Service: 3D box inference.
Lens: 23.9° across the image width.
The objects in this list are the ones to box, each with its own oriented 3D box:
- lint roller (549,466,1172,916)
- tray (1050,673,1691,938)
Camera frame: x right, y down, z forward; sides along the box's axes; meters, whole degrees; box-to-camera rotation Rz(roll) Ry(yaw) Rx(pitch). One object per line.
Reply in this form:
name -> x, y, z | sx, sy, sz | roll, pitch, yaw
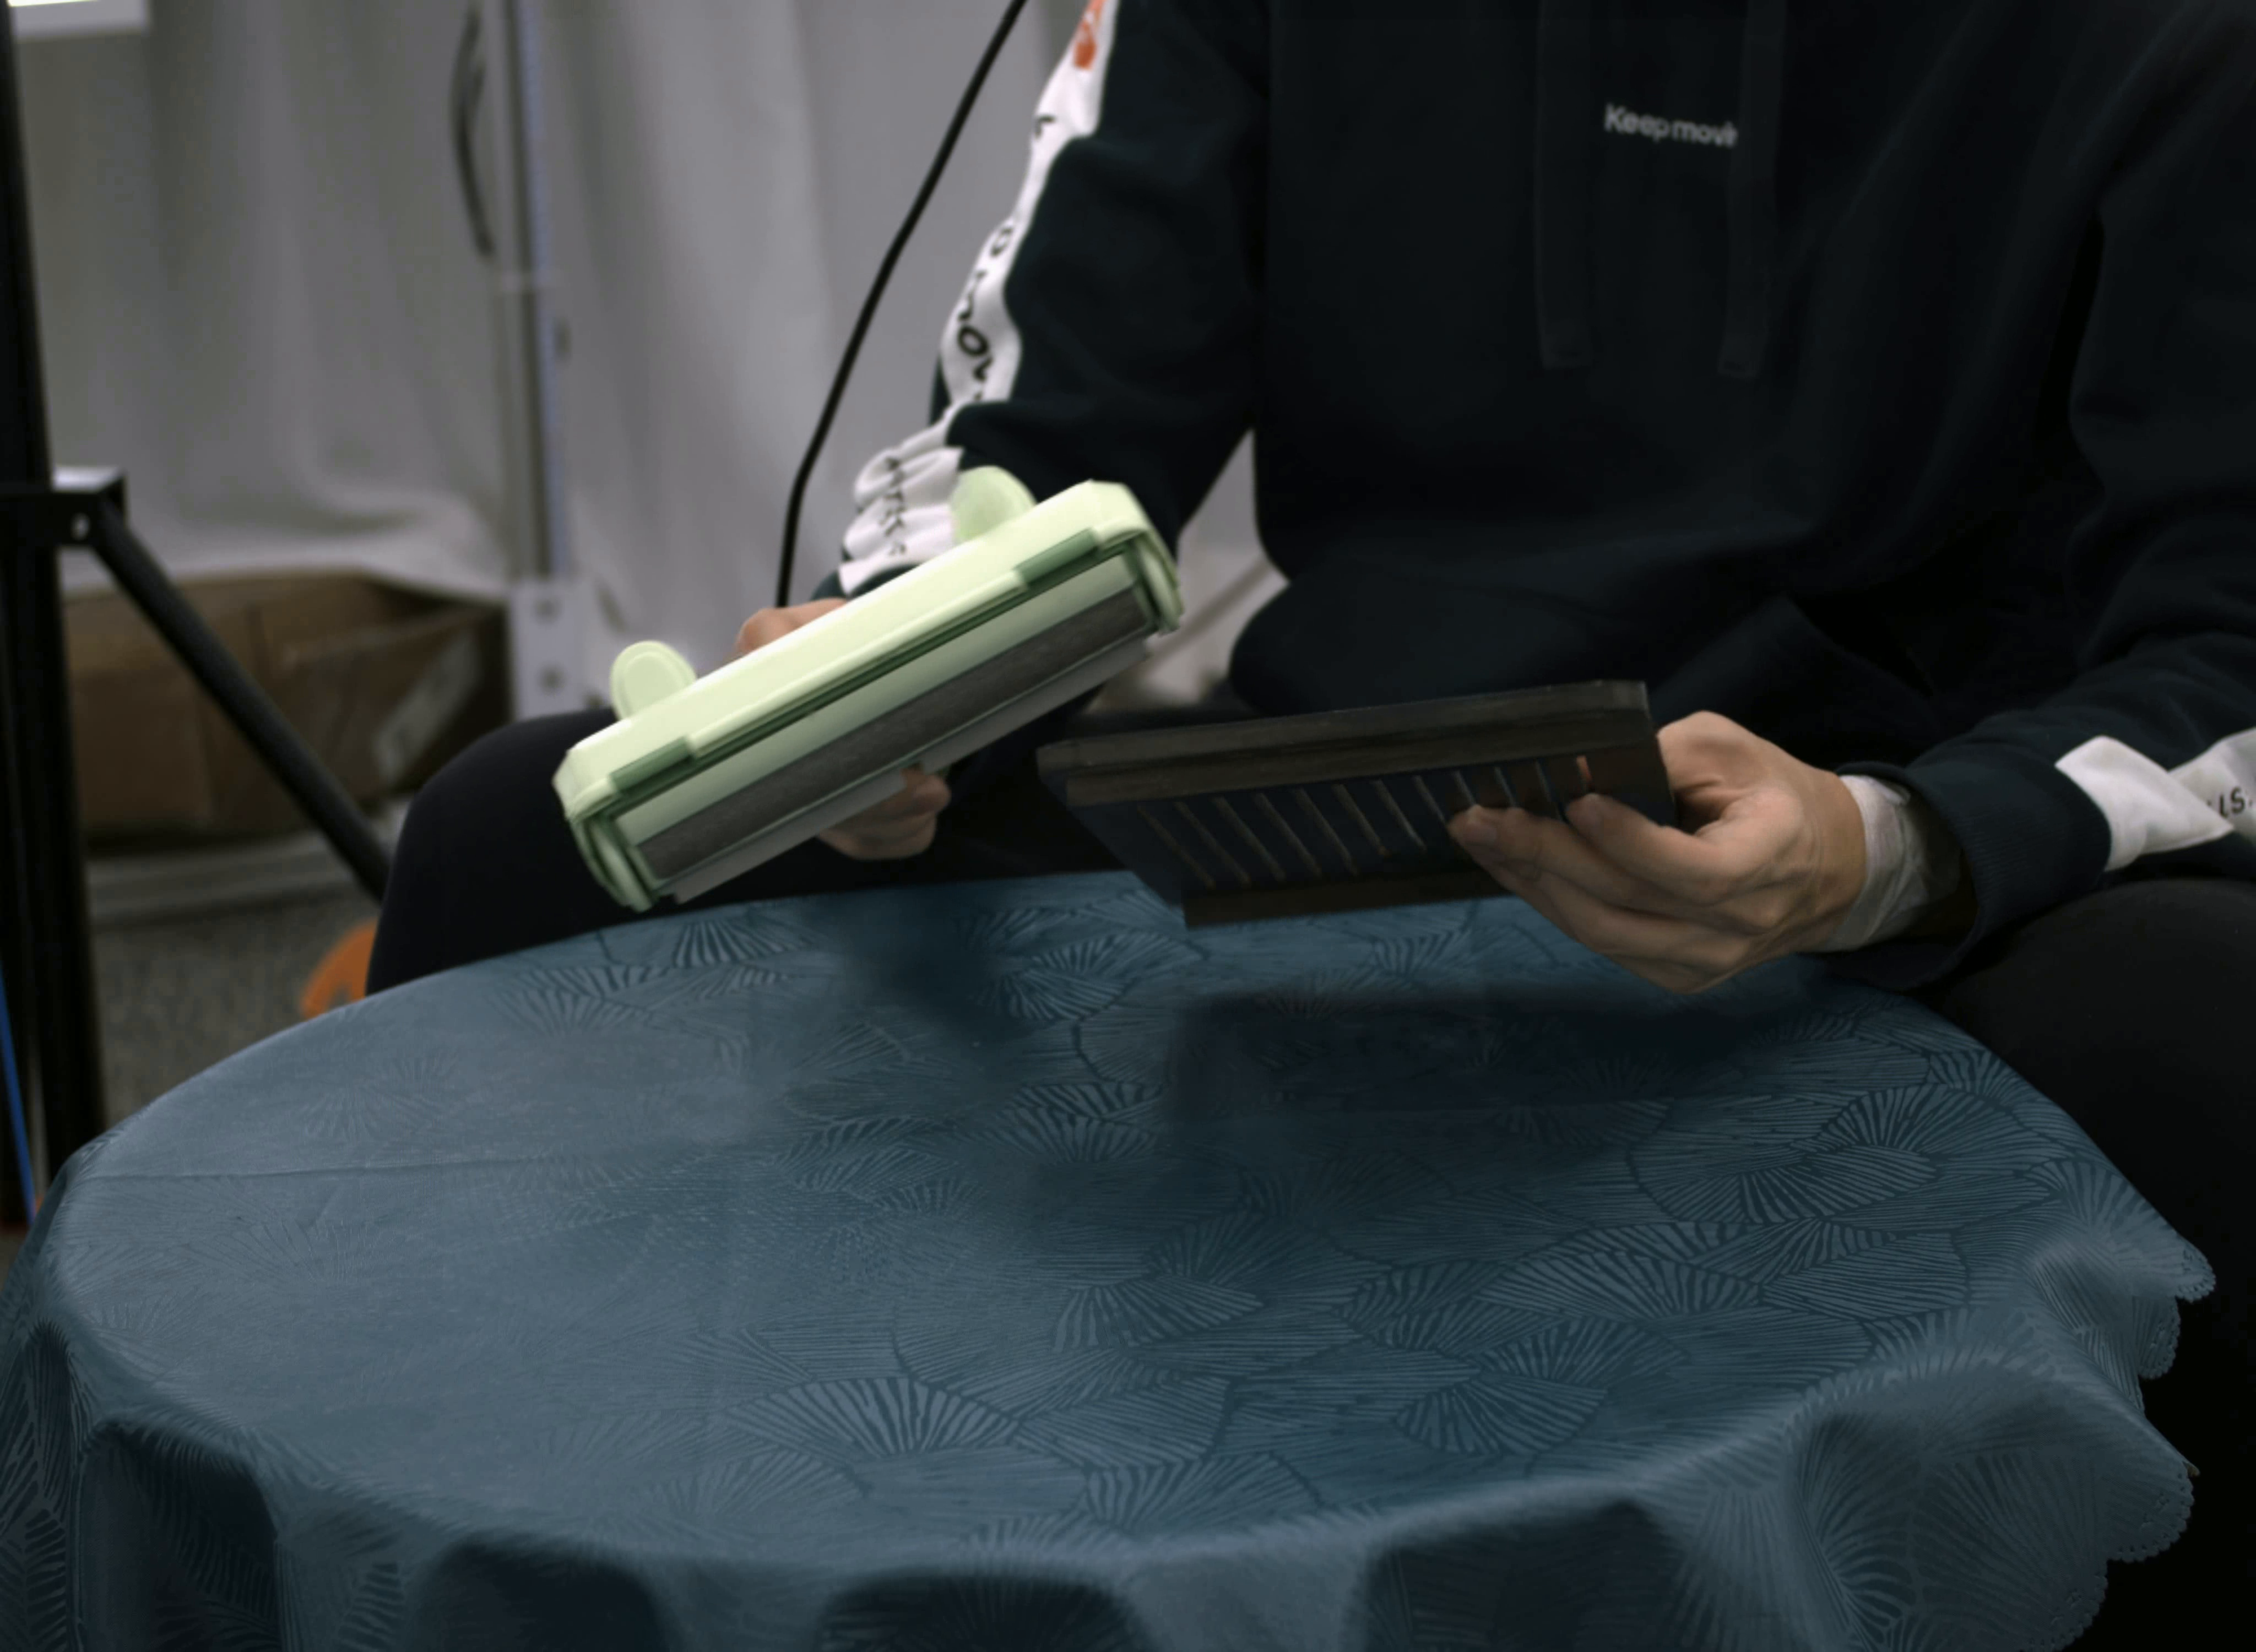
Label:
lint roller -> -0.086, -0.046, 1.671 | 0.198, 0.082, 0.183 | -28, 2, -1
tray -> 0.081, -0.001, 1.578 | 0.170, 0.019, 0.303 | -7, -10, 7
